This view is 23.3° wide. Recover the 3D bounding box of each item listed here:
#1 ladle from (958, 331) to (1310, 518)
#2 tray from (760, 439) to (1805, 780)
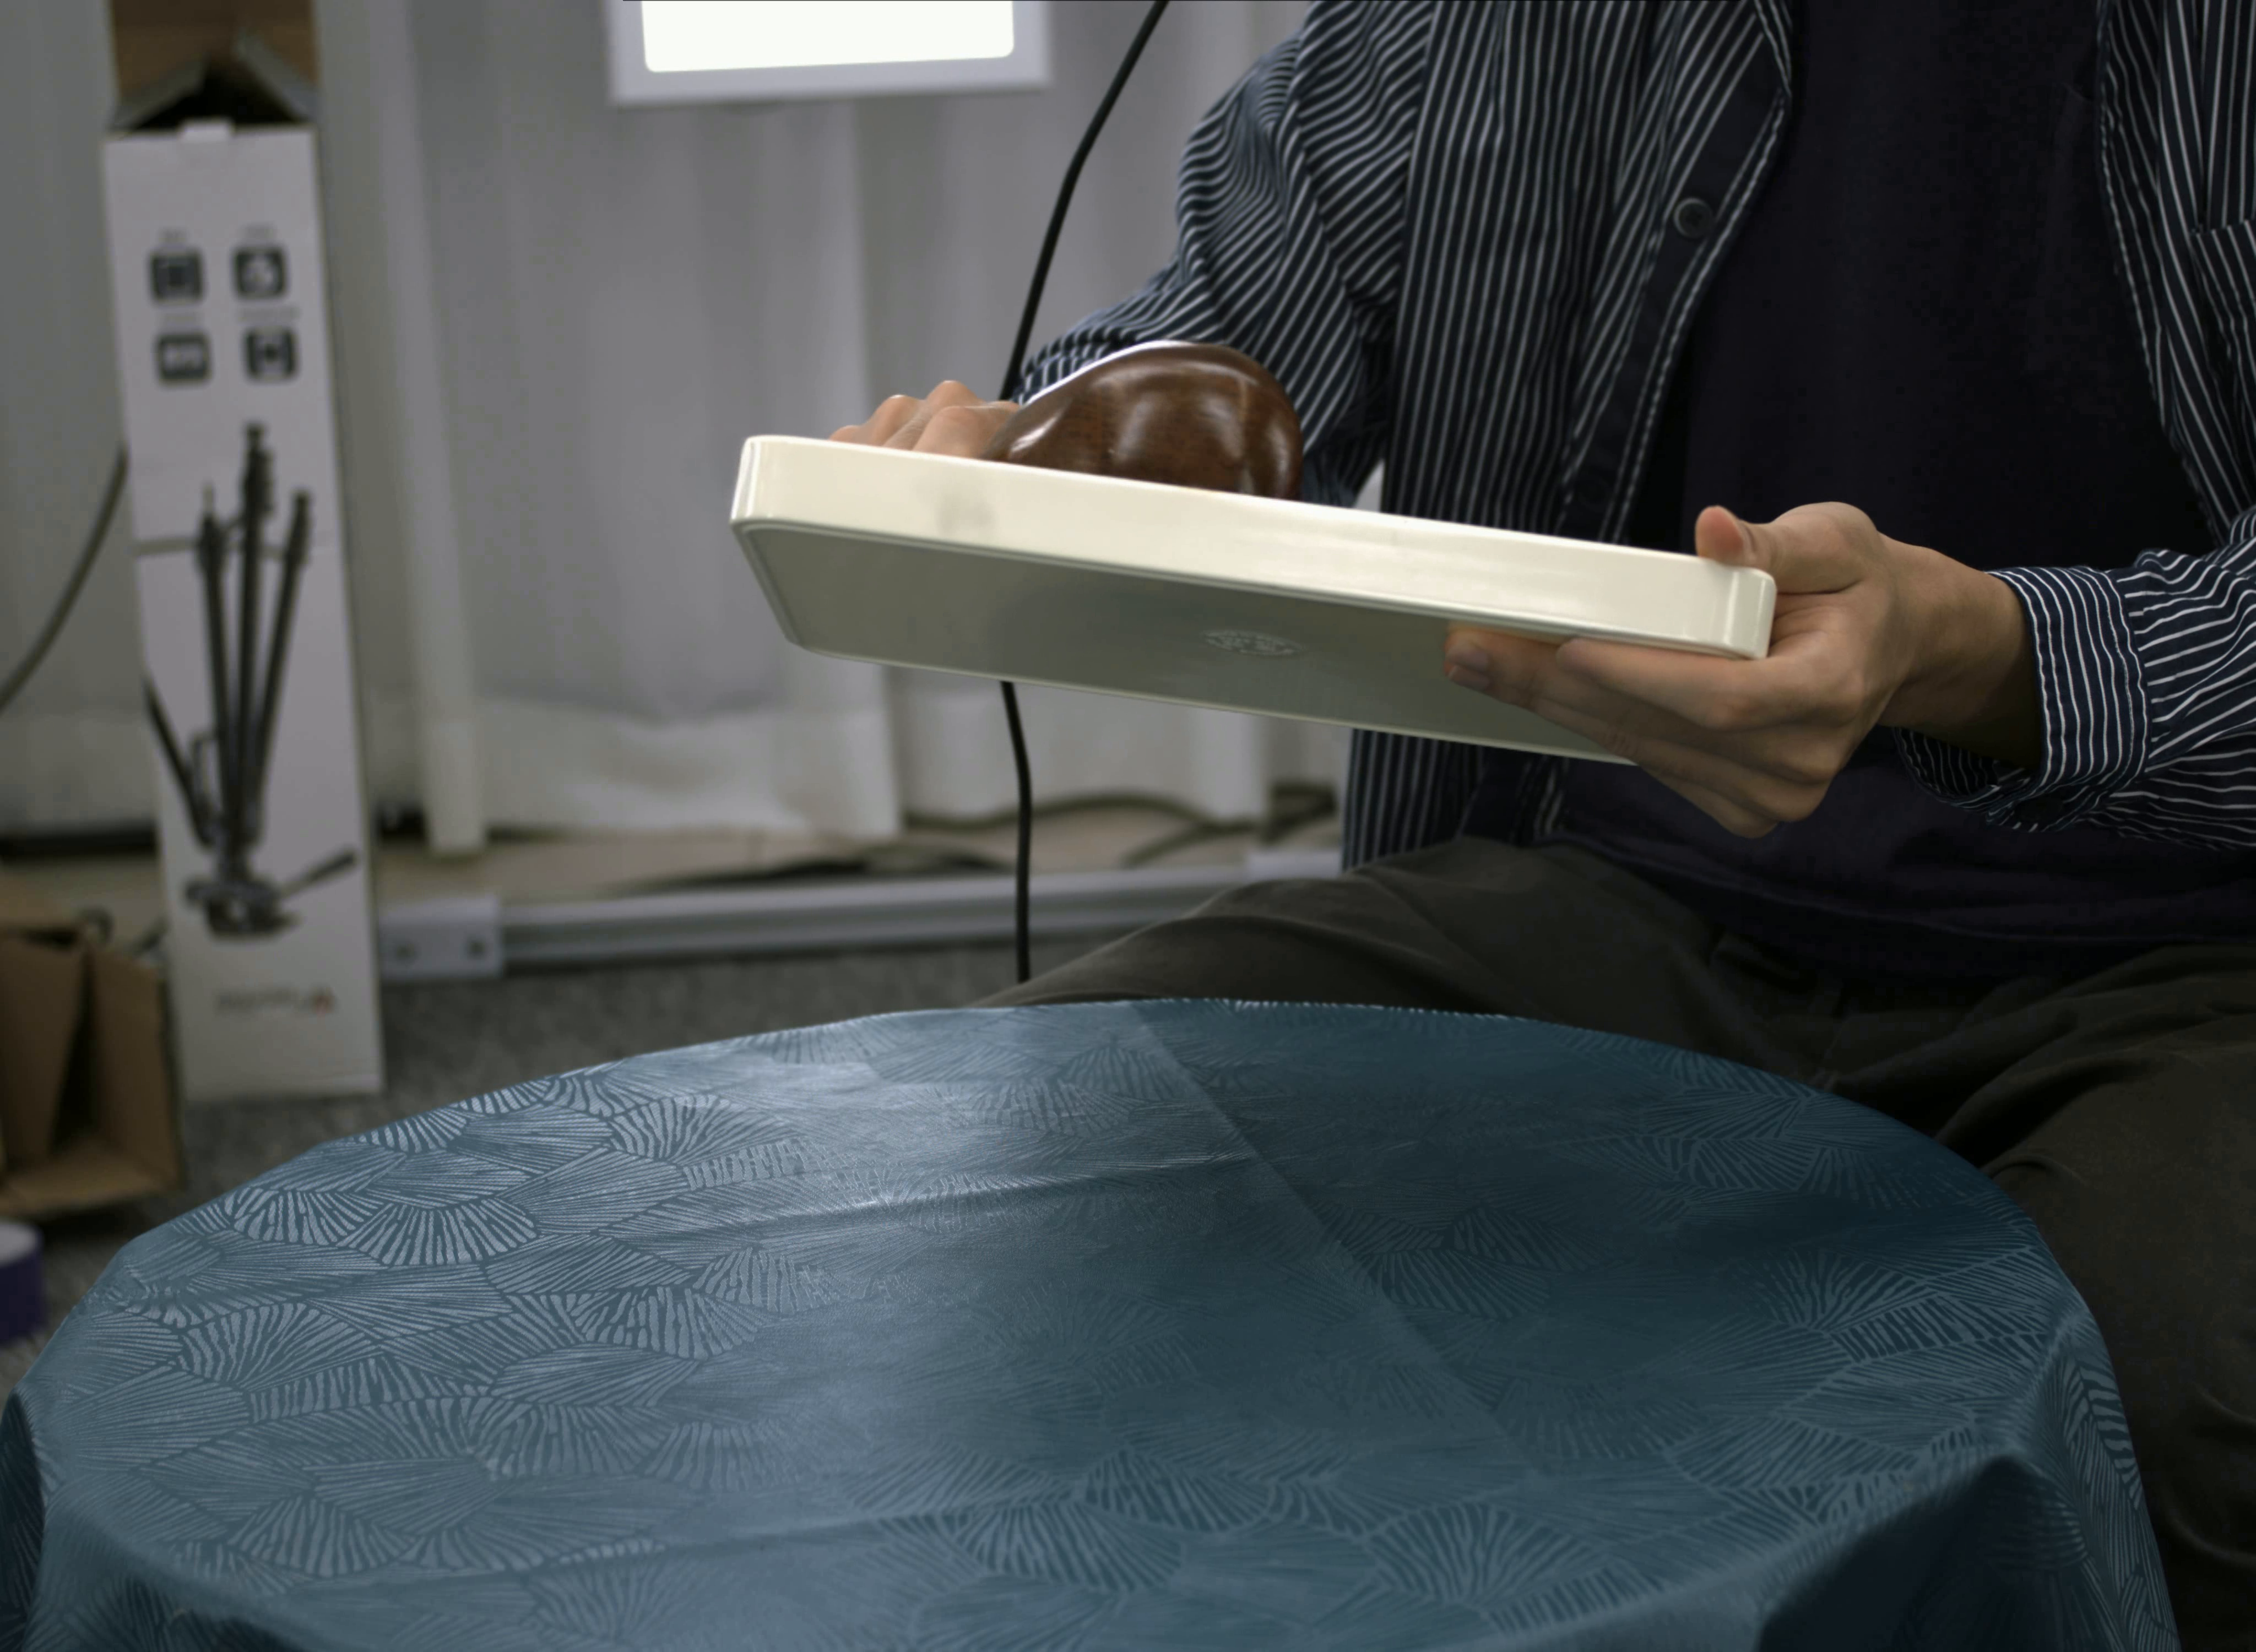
[{"bbox_3d":[-0.021,-0.096,1.704,0.082,0.076,0.273,-54,10,-17],"label":"ladle"},{"bbox_3d":[0.046,-0.061,1.635,0.299,0.027,0.190,8,-10,5],"label":"tray"}]
